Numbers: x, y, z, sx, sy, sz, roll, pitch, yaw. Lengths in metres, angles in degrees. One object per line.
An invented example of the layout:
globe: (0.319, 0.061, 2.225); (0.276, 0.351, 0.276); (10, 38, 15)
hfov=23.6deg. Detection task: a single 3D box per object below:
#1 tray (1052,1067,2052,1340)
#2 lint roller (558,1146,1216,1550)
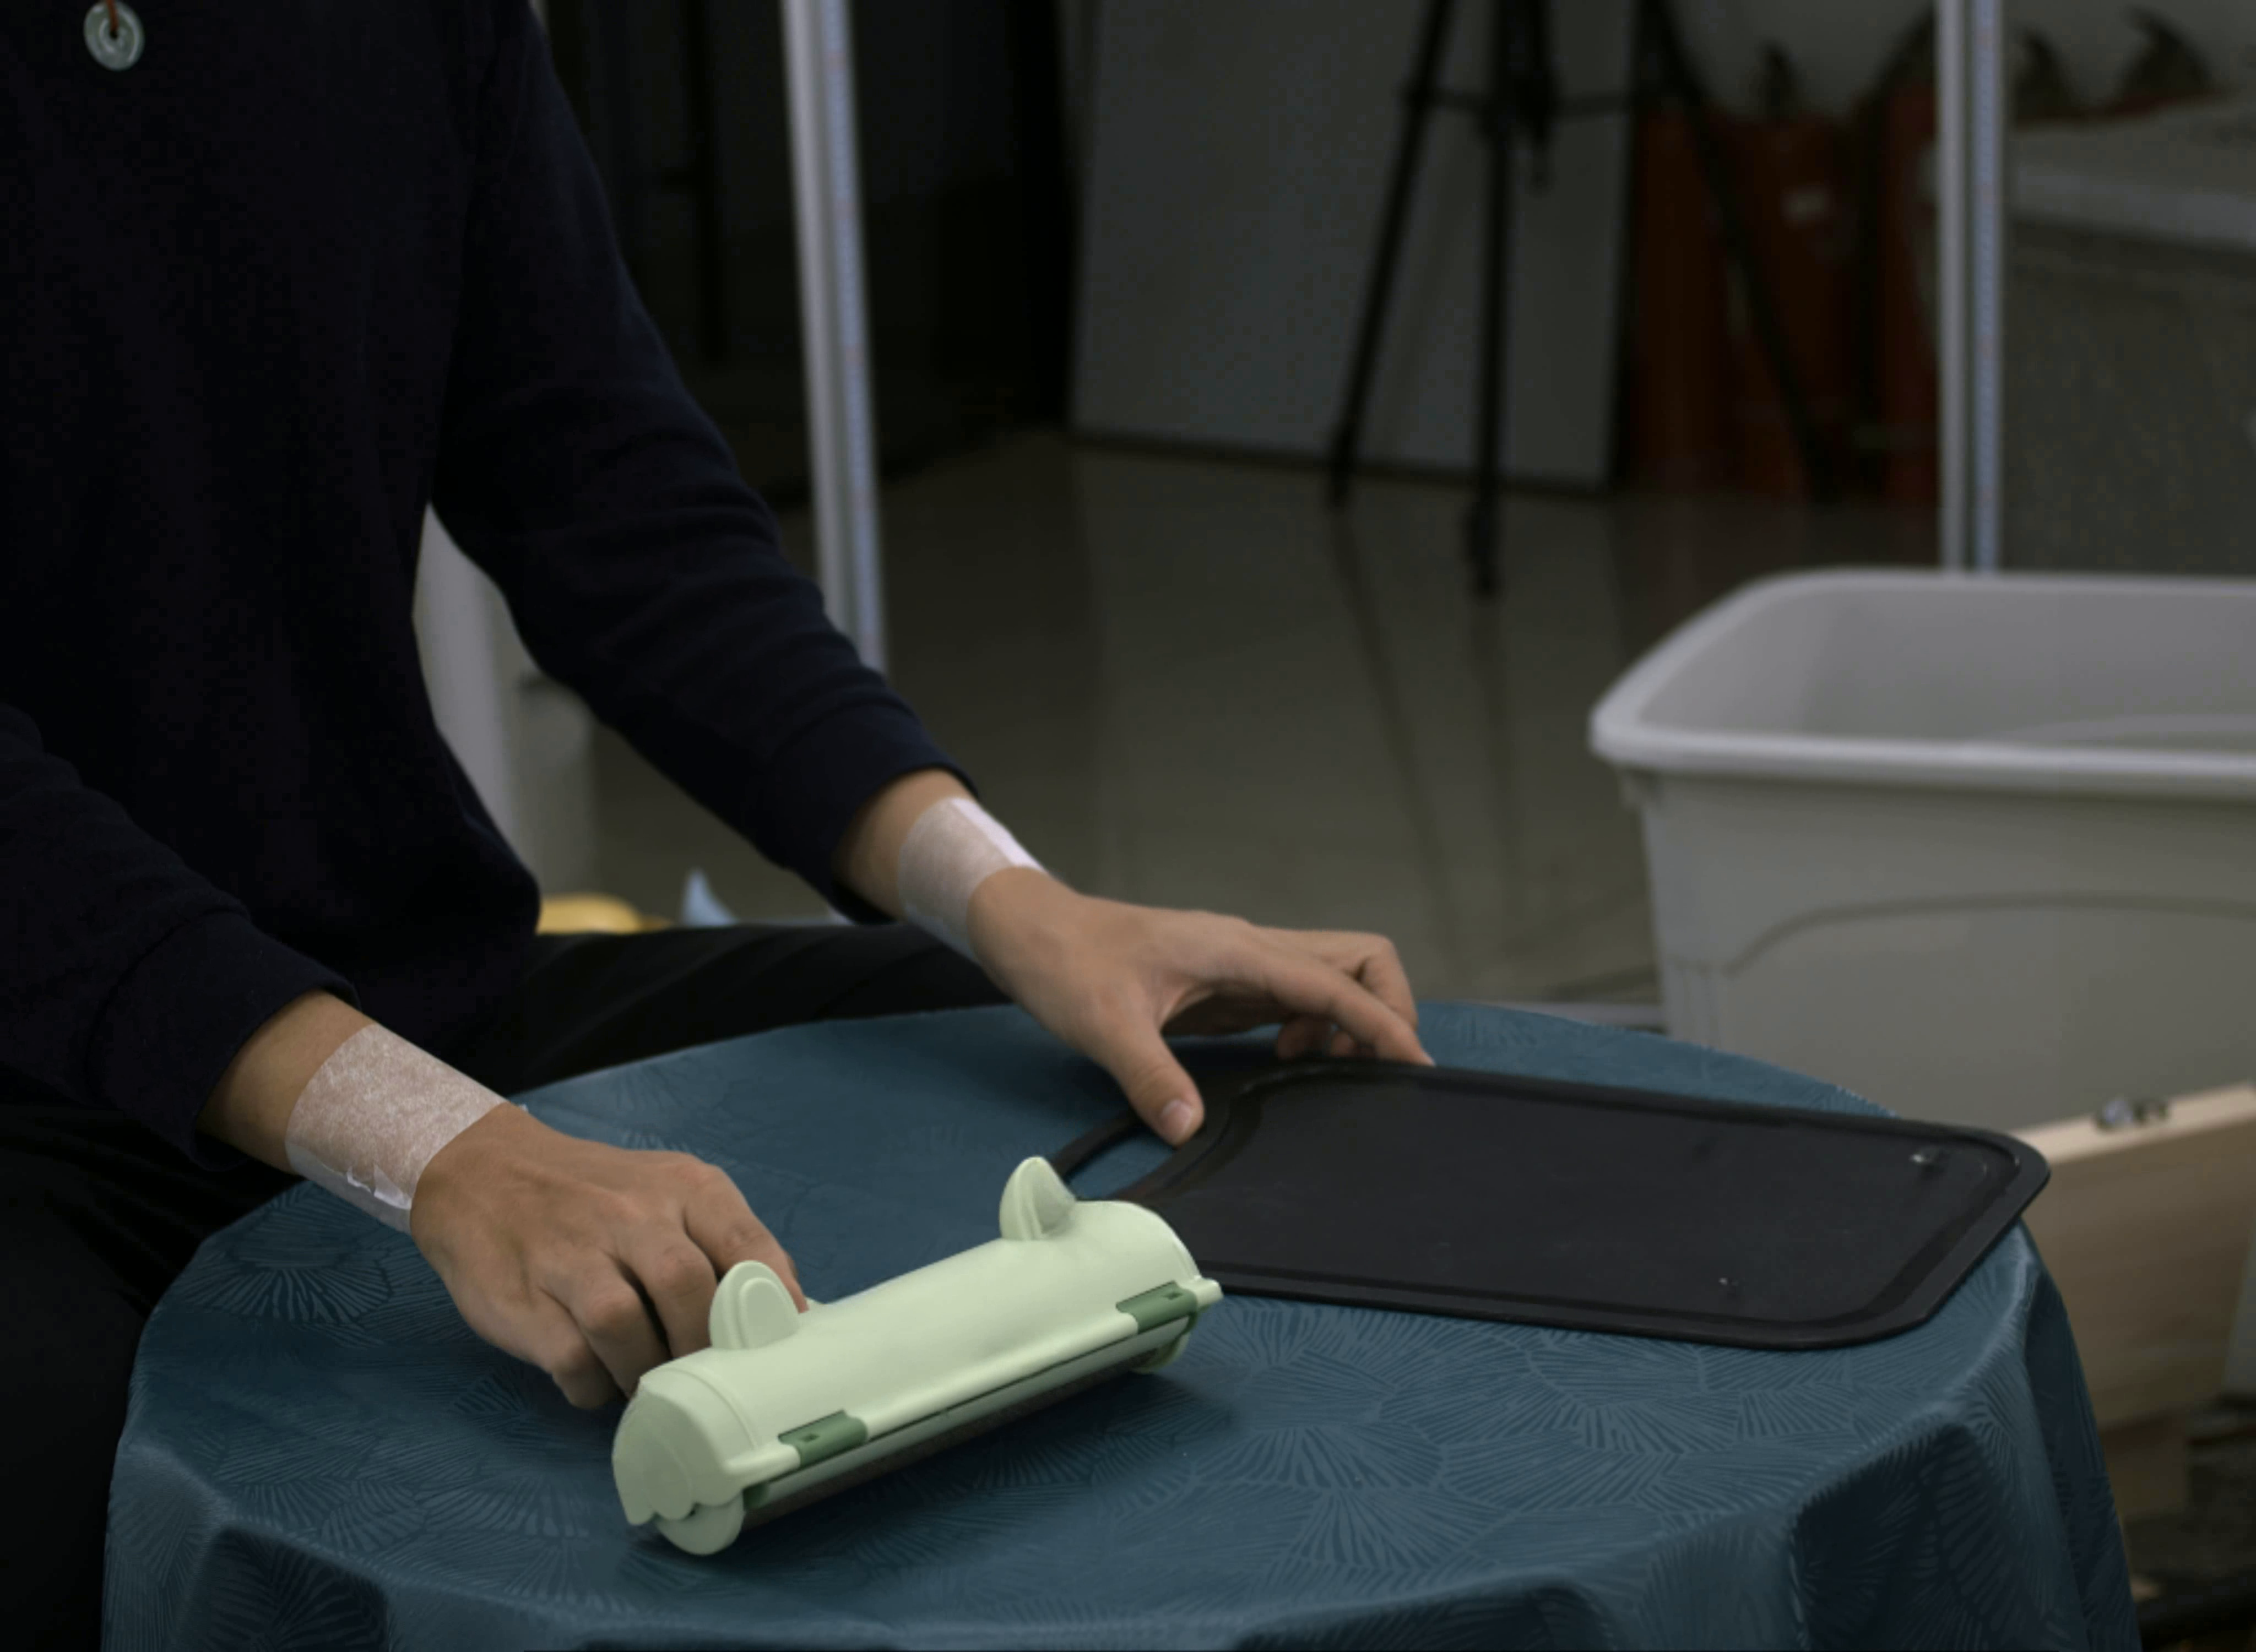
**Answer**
tray: (0.122, 0.117, 1.728); (0.326, 0.010, 0.208); (3, 17, 27)
lint roller: (-0.101, 0.131, 1.569); (0.185, 0.083, 0.194); (22, 27, 39)
